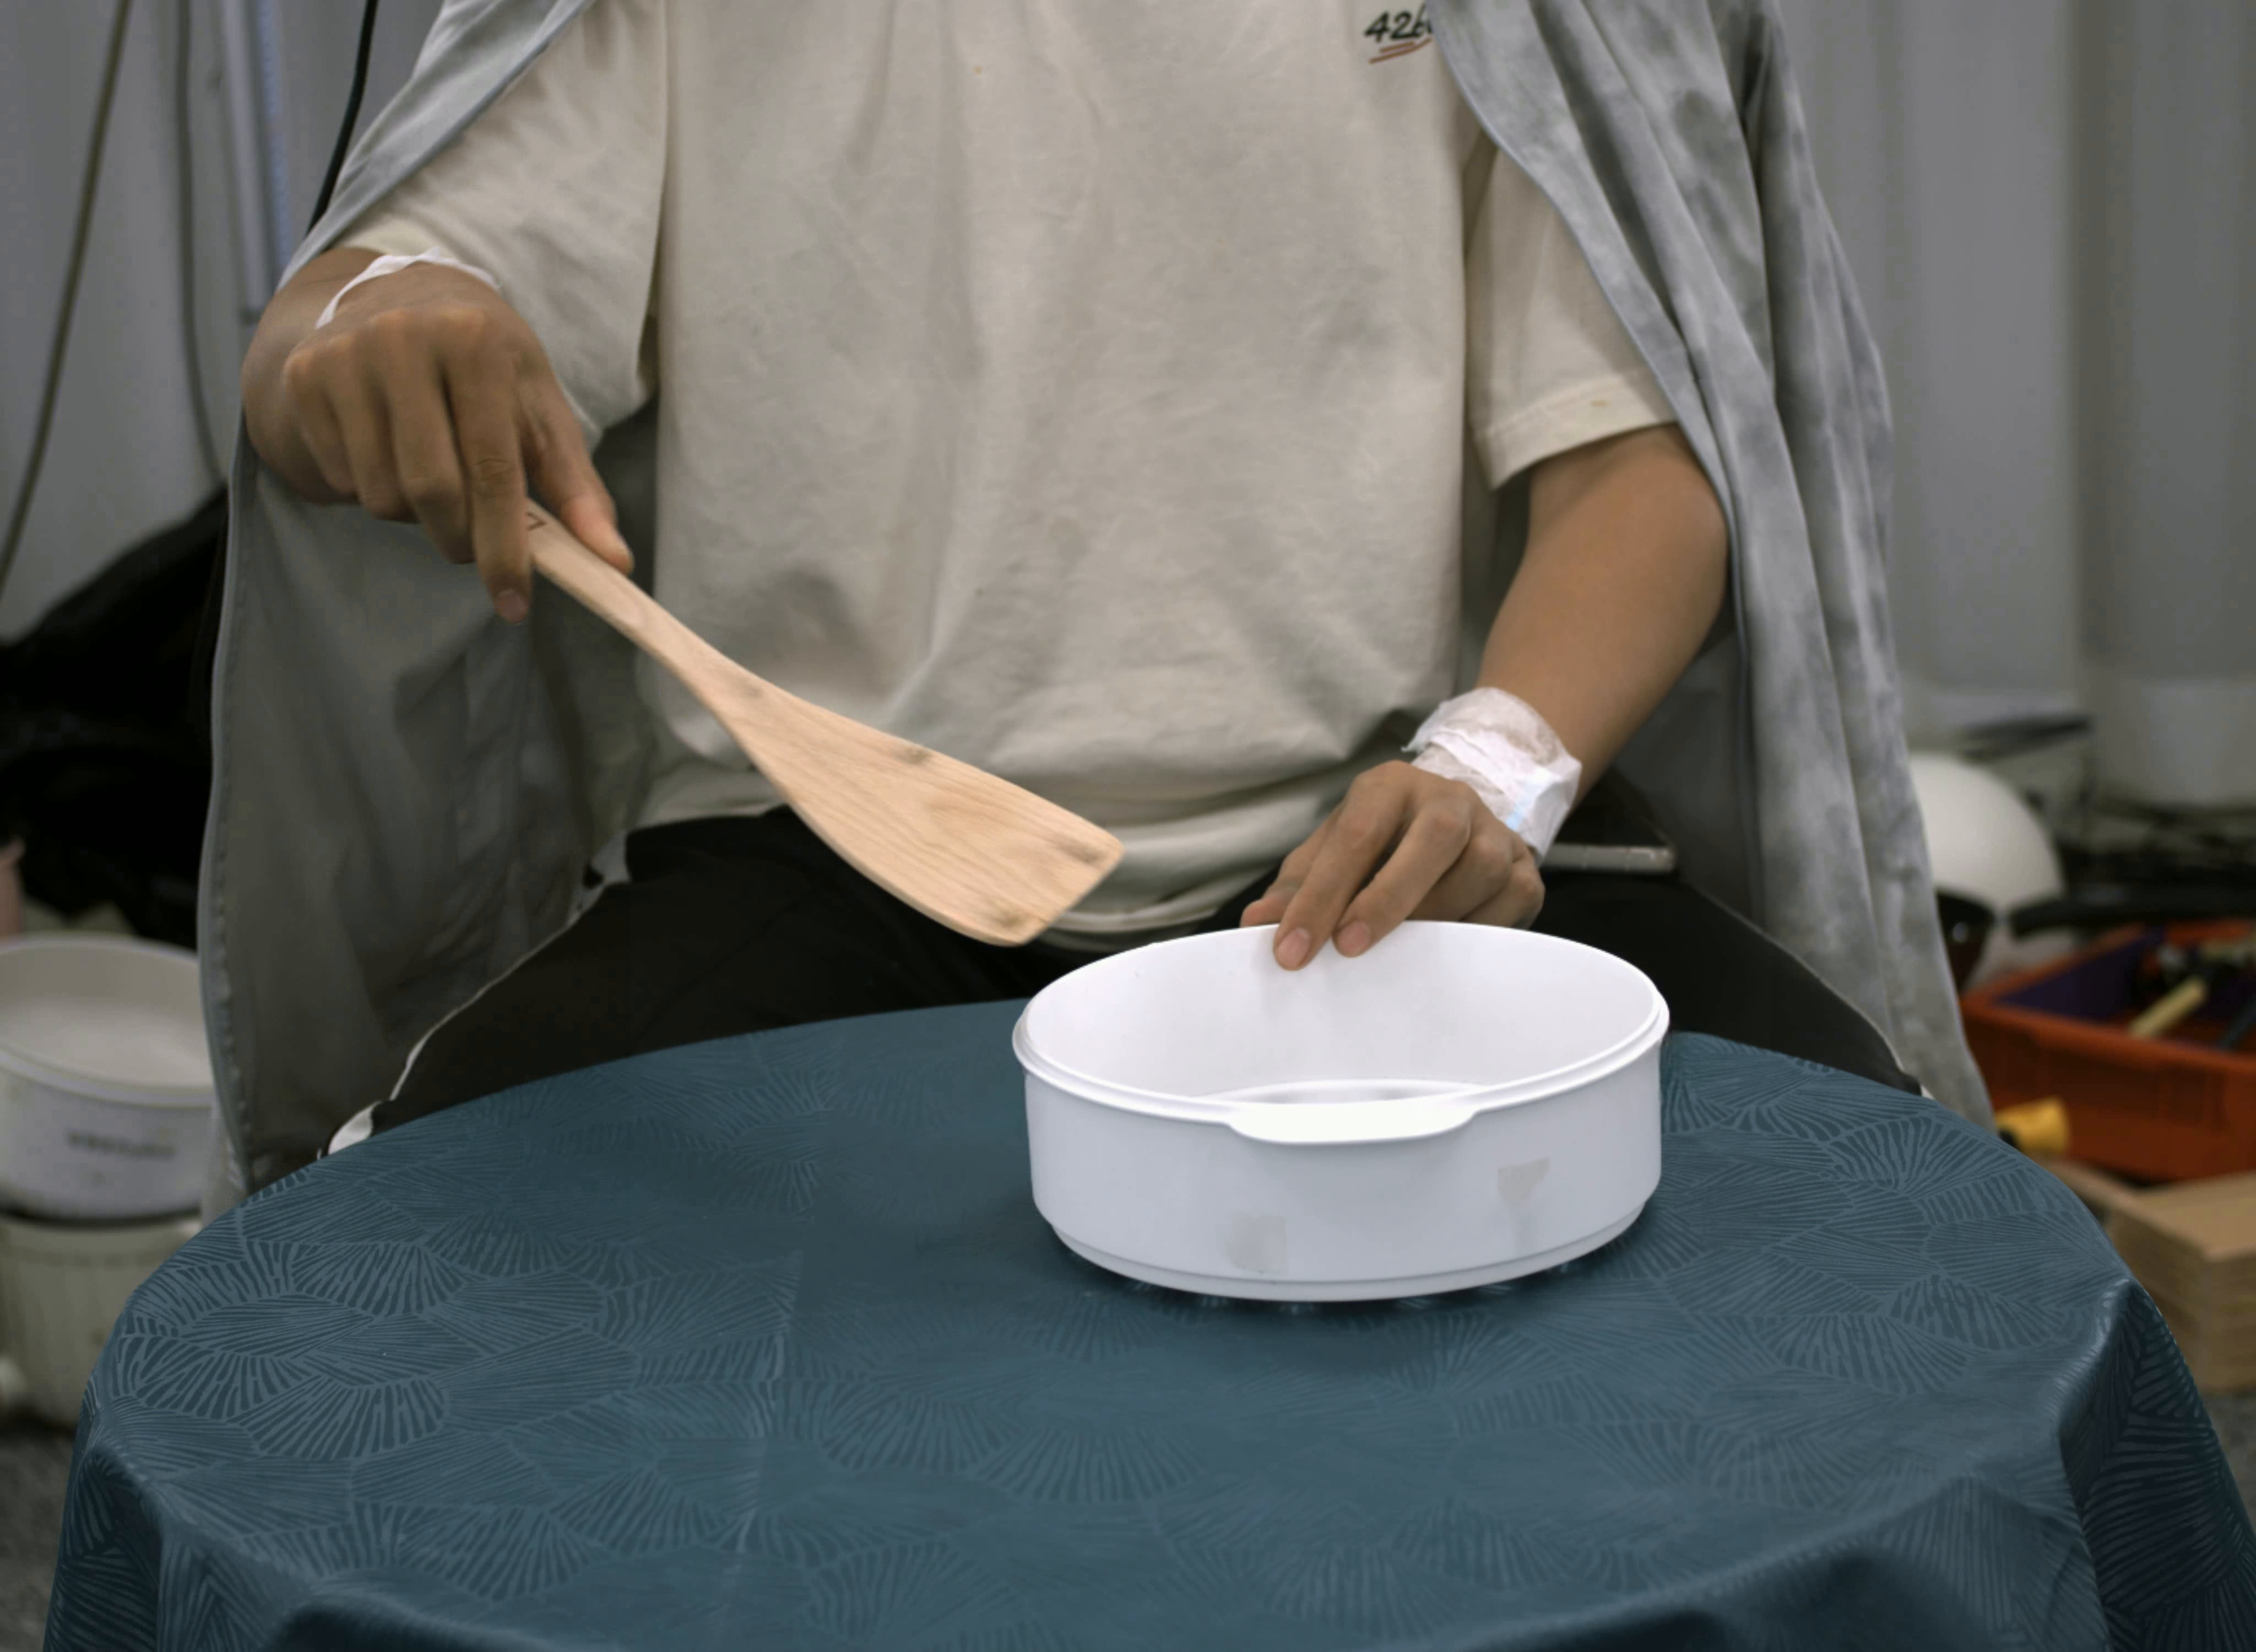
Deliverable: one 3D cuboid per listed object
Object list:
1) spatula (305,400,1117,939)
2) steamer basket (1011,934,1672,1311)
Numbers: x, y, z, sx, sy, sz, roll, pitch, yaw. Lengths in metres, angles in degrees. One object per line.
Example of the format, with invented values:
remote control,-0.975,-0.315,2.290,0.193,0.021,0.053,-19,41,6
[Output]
spatula,-0.139,-0.056,1.714,0.330,0.016,0.080,34,38,25
steamer basket,0.066,0.090,1.673,0.201,0.069,0.232,-1,14,1
